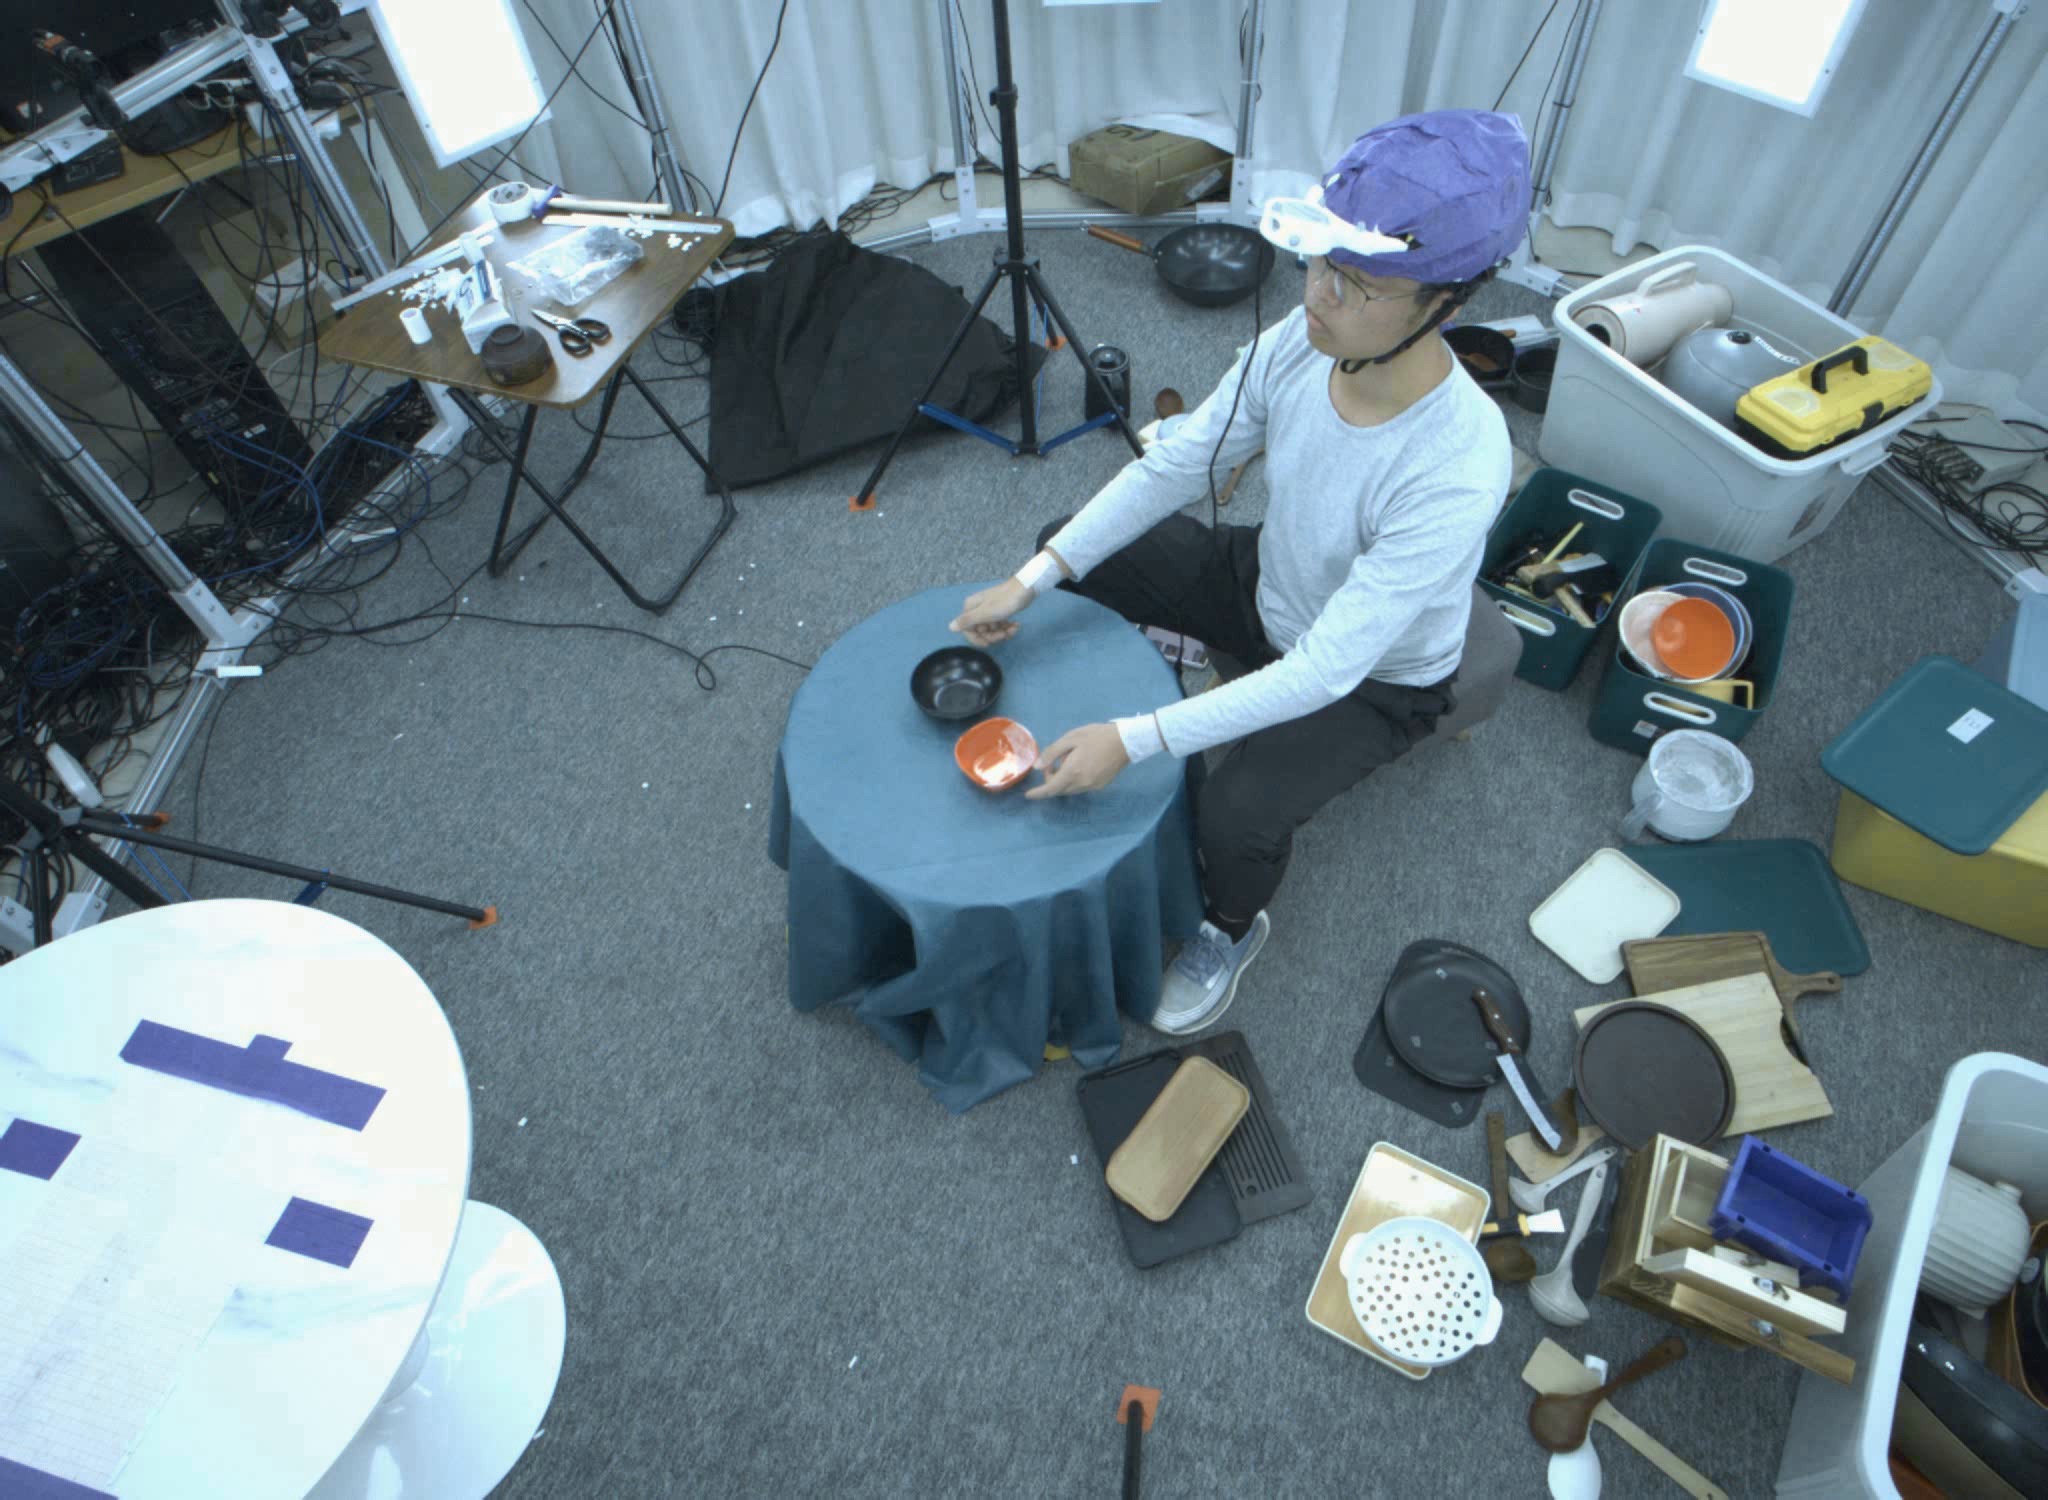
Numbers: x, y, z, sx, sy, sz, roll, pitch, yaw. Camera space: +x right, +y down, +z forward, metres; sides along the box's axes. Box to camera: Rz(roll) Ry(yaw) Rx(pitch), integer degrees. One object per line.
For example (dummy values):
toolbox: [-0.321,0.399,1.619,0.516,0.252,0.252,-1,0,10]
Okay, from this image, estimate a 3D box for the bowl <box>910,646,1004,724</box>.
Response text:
bowl: [-0.099,-0.088,1.832,0.140,0.050,0.138,1,54,-1]

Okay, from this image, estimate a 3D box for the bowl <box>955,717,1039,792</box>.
bowl: [-0.036,0.014,1.753,0.118,0.052,0.117,-2,54,4]
